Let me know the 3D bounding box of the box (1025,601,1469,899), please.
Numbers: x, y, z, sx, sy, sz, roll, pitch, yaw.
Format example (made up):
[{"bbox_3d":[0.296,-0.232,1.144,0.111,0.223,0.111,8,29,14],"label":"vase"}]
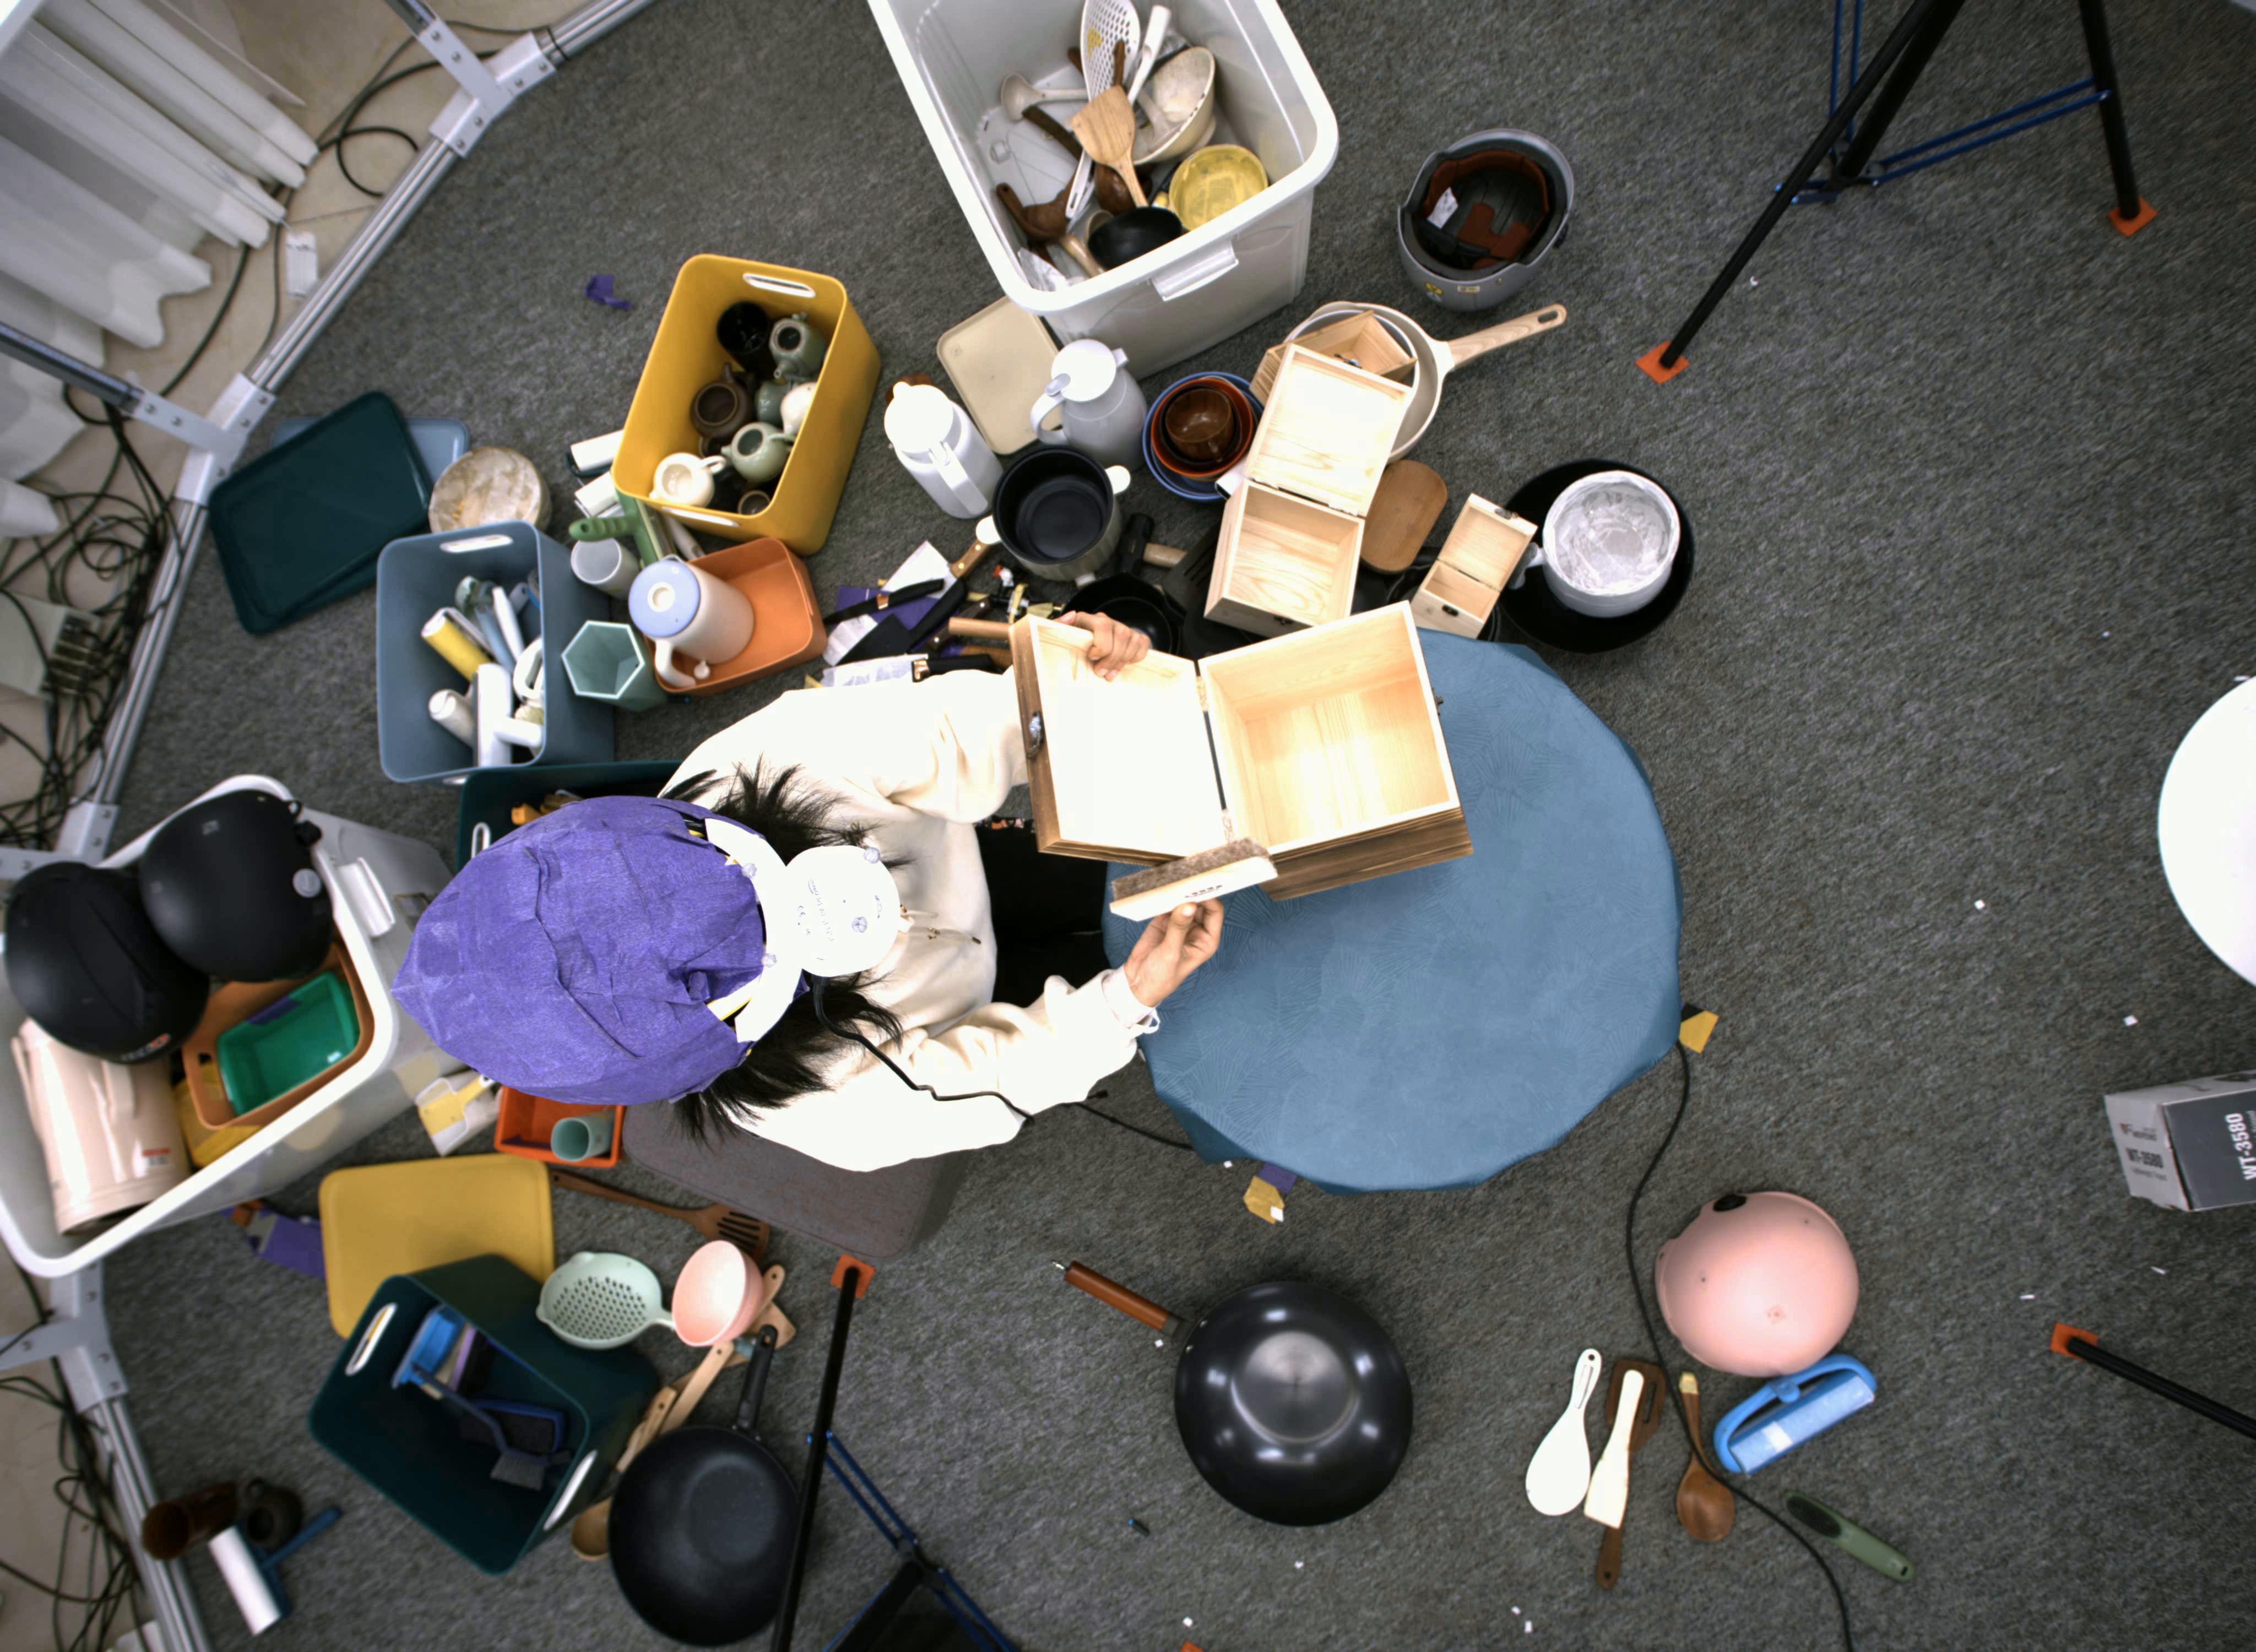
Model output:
[{"bbox_3d":[0.124,-0.075,1.227,0.324,0.378,0.206,-15,72,13],"label":"box"}]

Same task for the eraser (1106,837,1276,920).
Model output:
[{"bbox_3d":[0.053,0.046,1.204,0.141,0.057,0.028,-18,71,22],"label":"eraser"}]
